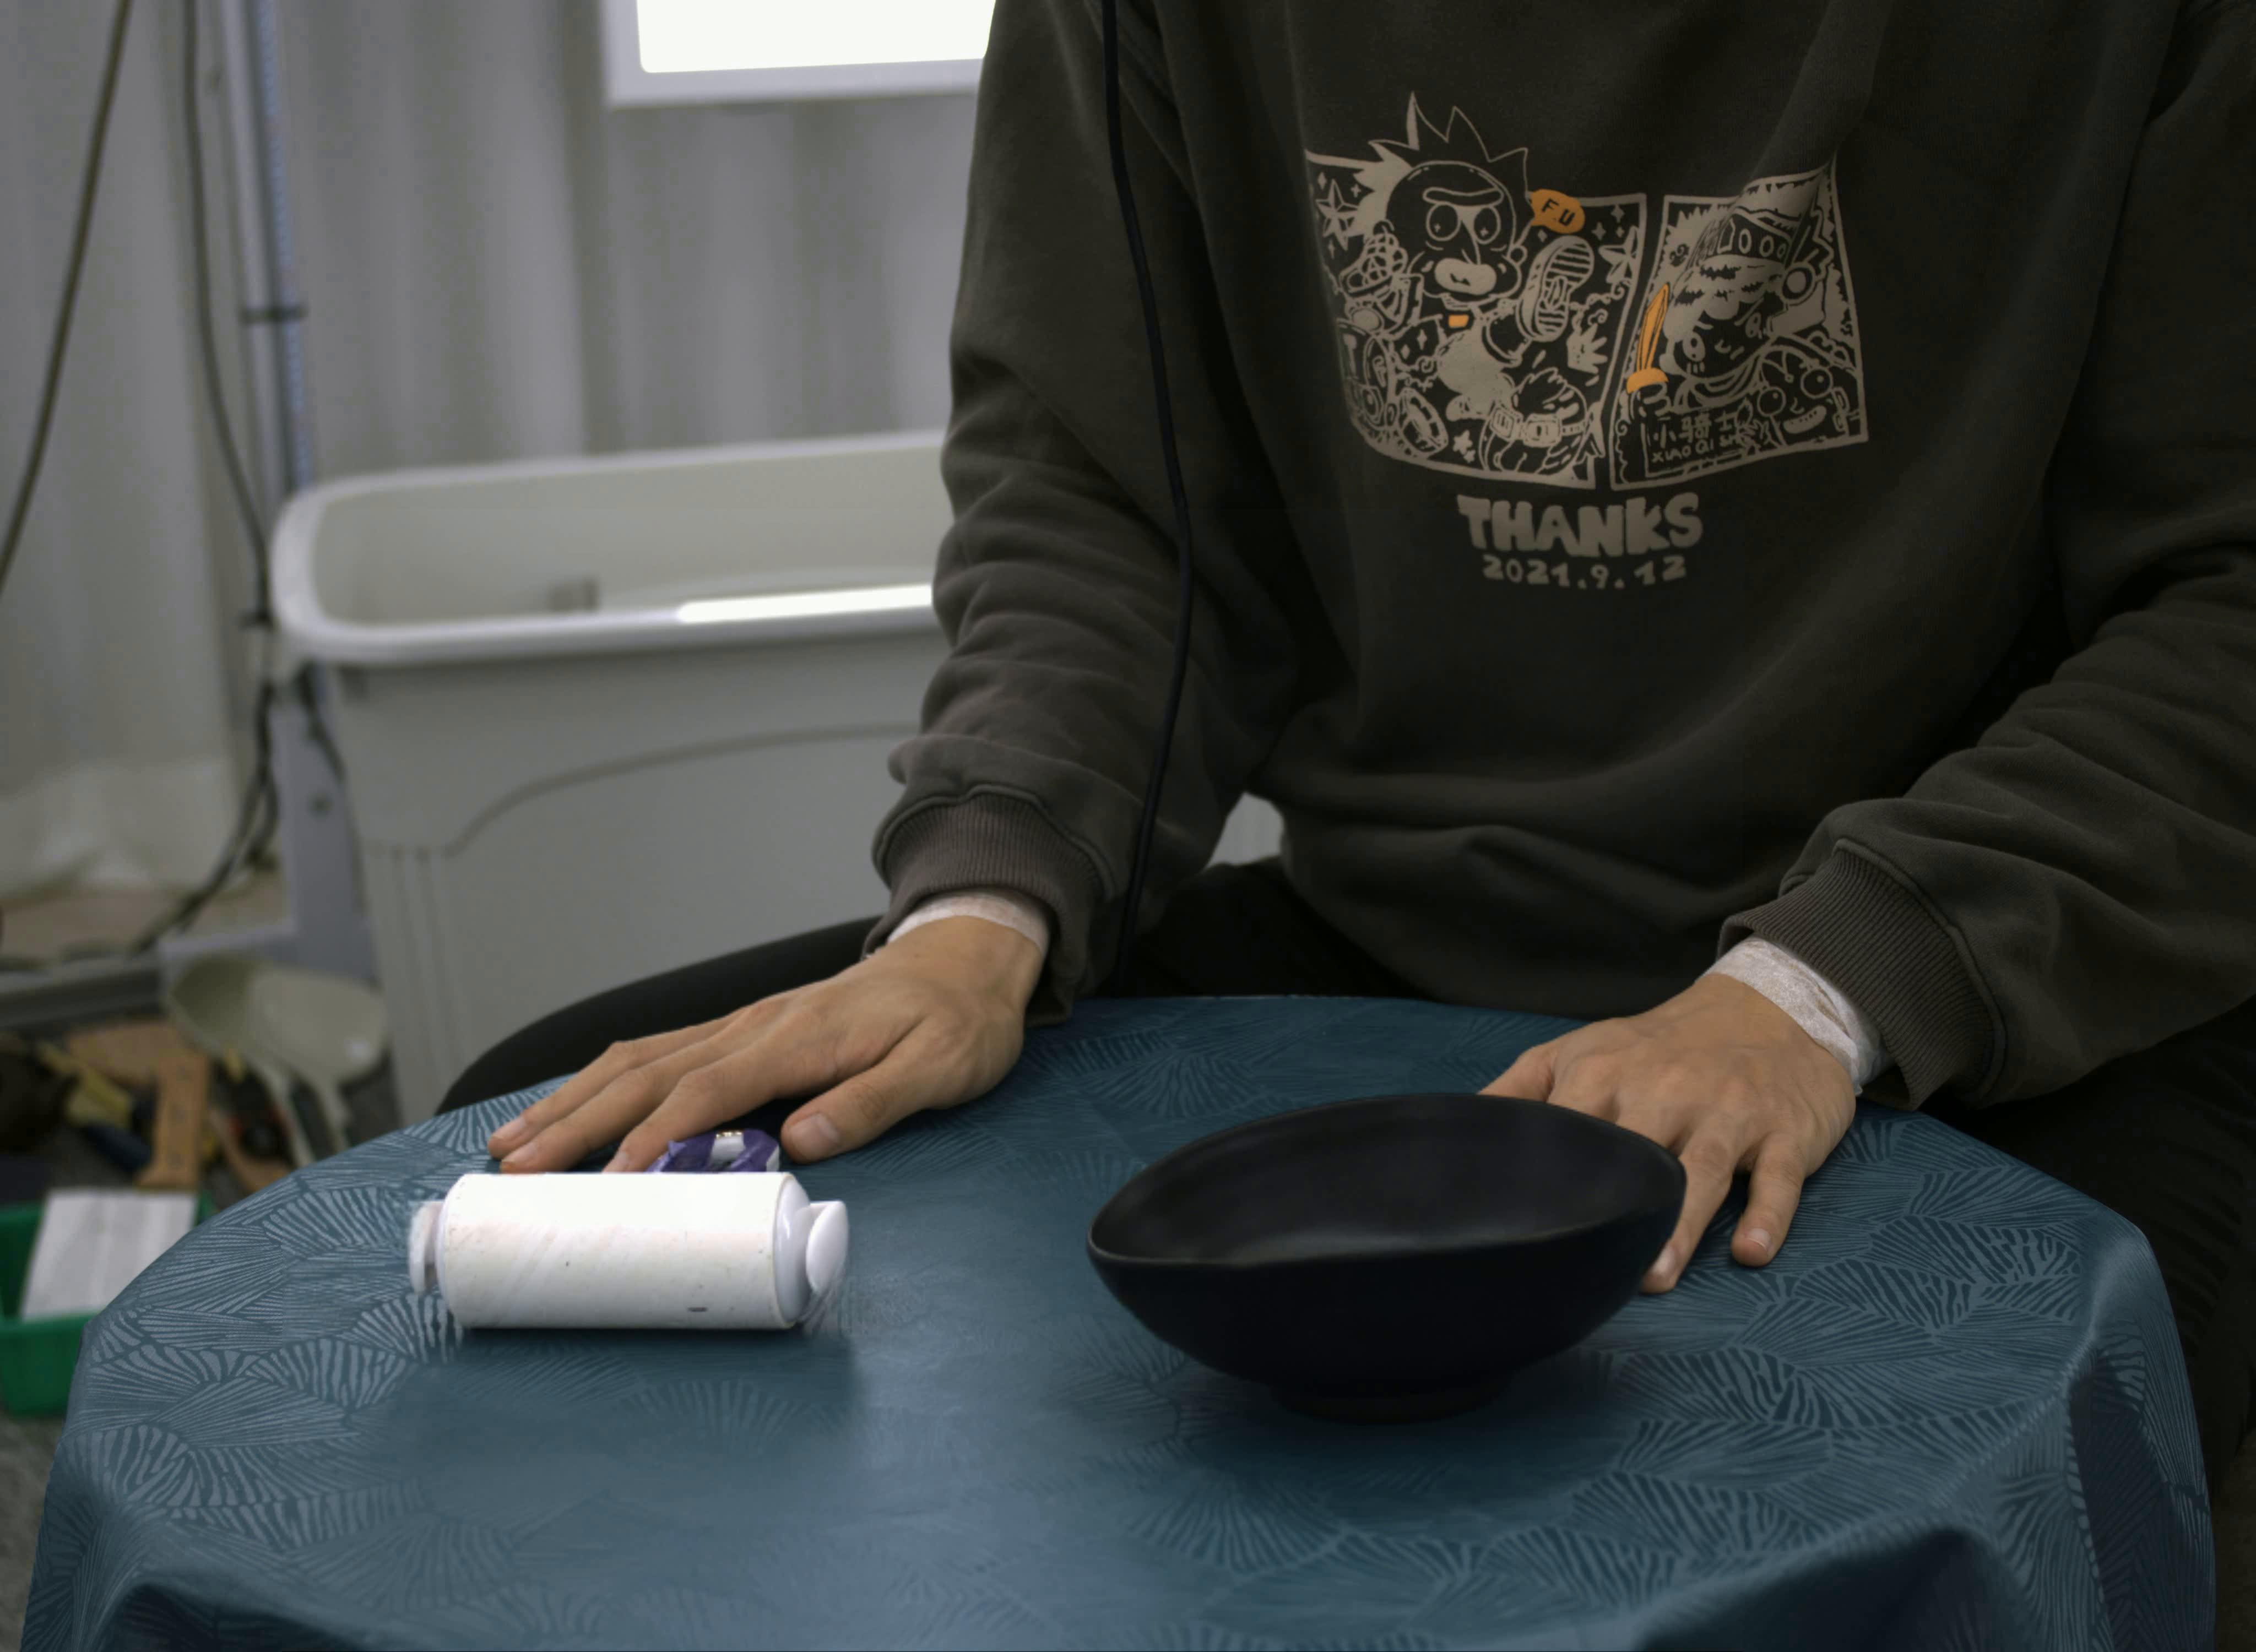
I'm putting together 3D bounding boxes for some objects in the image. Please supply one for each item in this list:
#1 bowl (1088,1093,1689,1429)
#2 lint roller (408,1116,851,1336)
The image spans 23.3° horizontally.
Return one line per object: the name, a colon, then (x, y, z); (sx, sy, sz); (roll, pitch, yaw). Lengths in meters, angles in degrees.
bowl: (0.075, 0.128, 1.537); (0.169, 0.066, 0.138); (-6, 14, -5)
lint roller: (-0.137, 0.108, 1.682); (0.133, 0.050, 0.182); (0, 18, 11)
